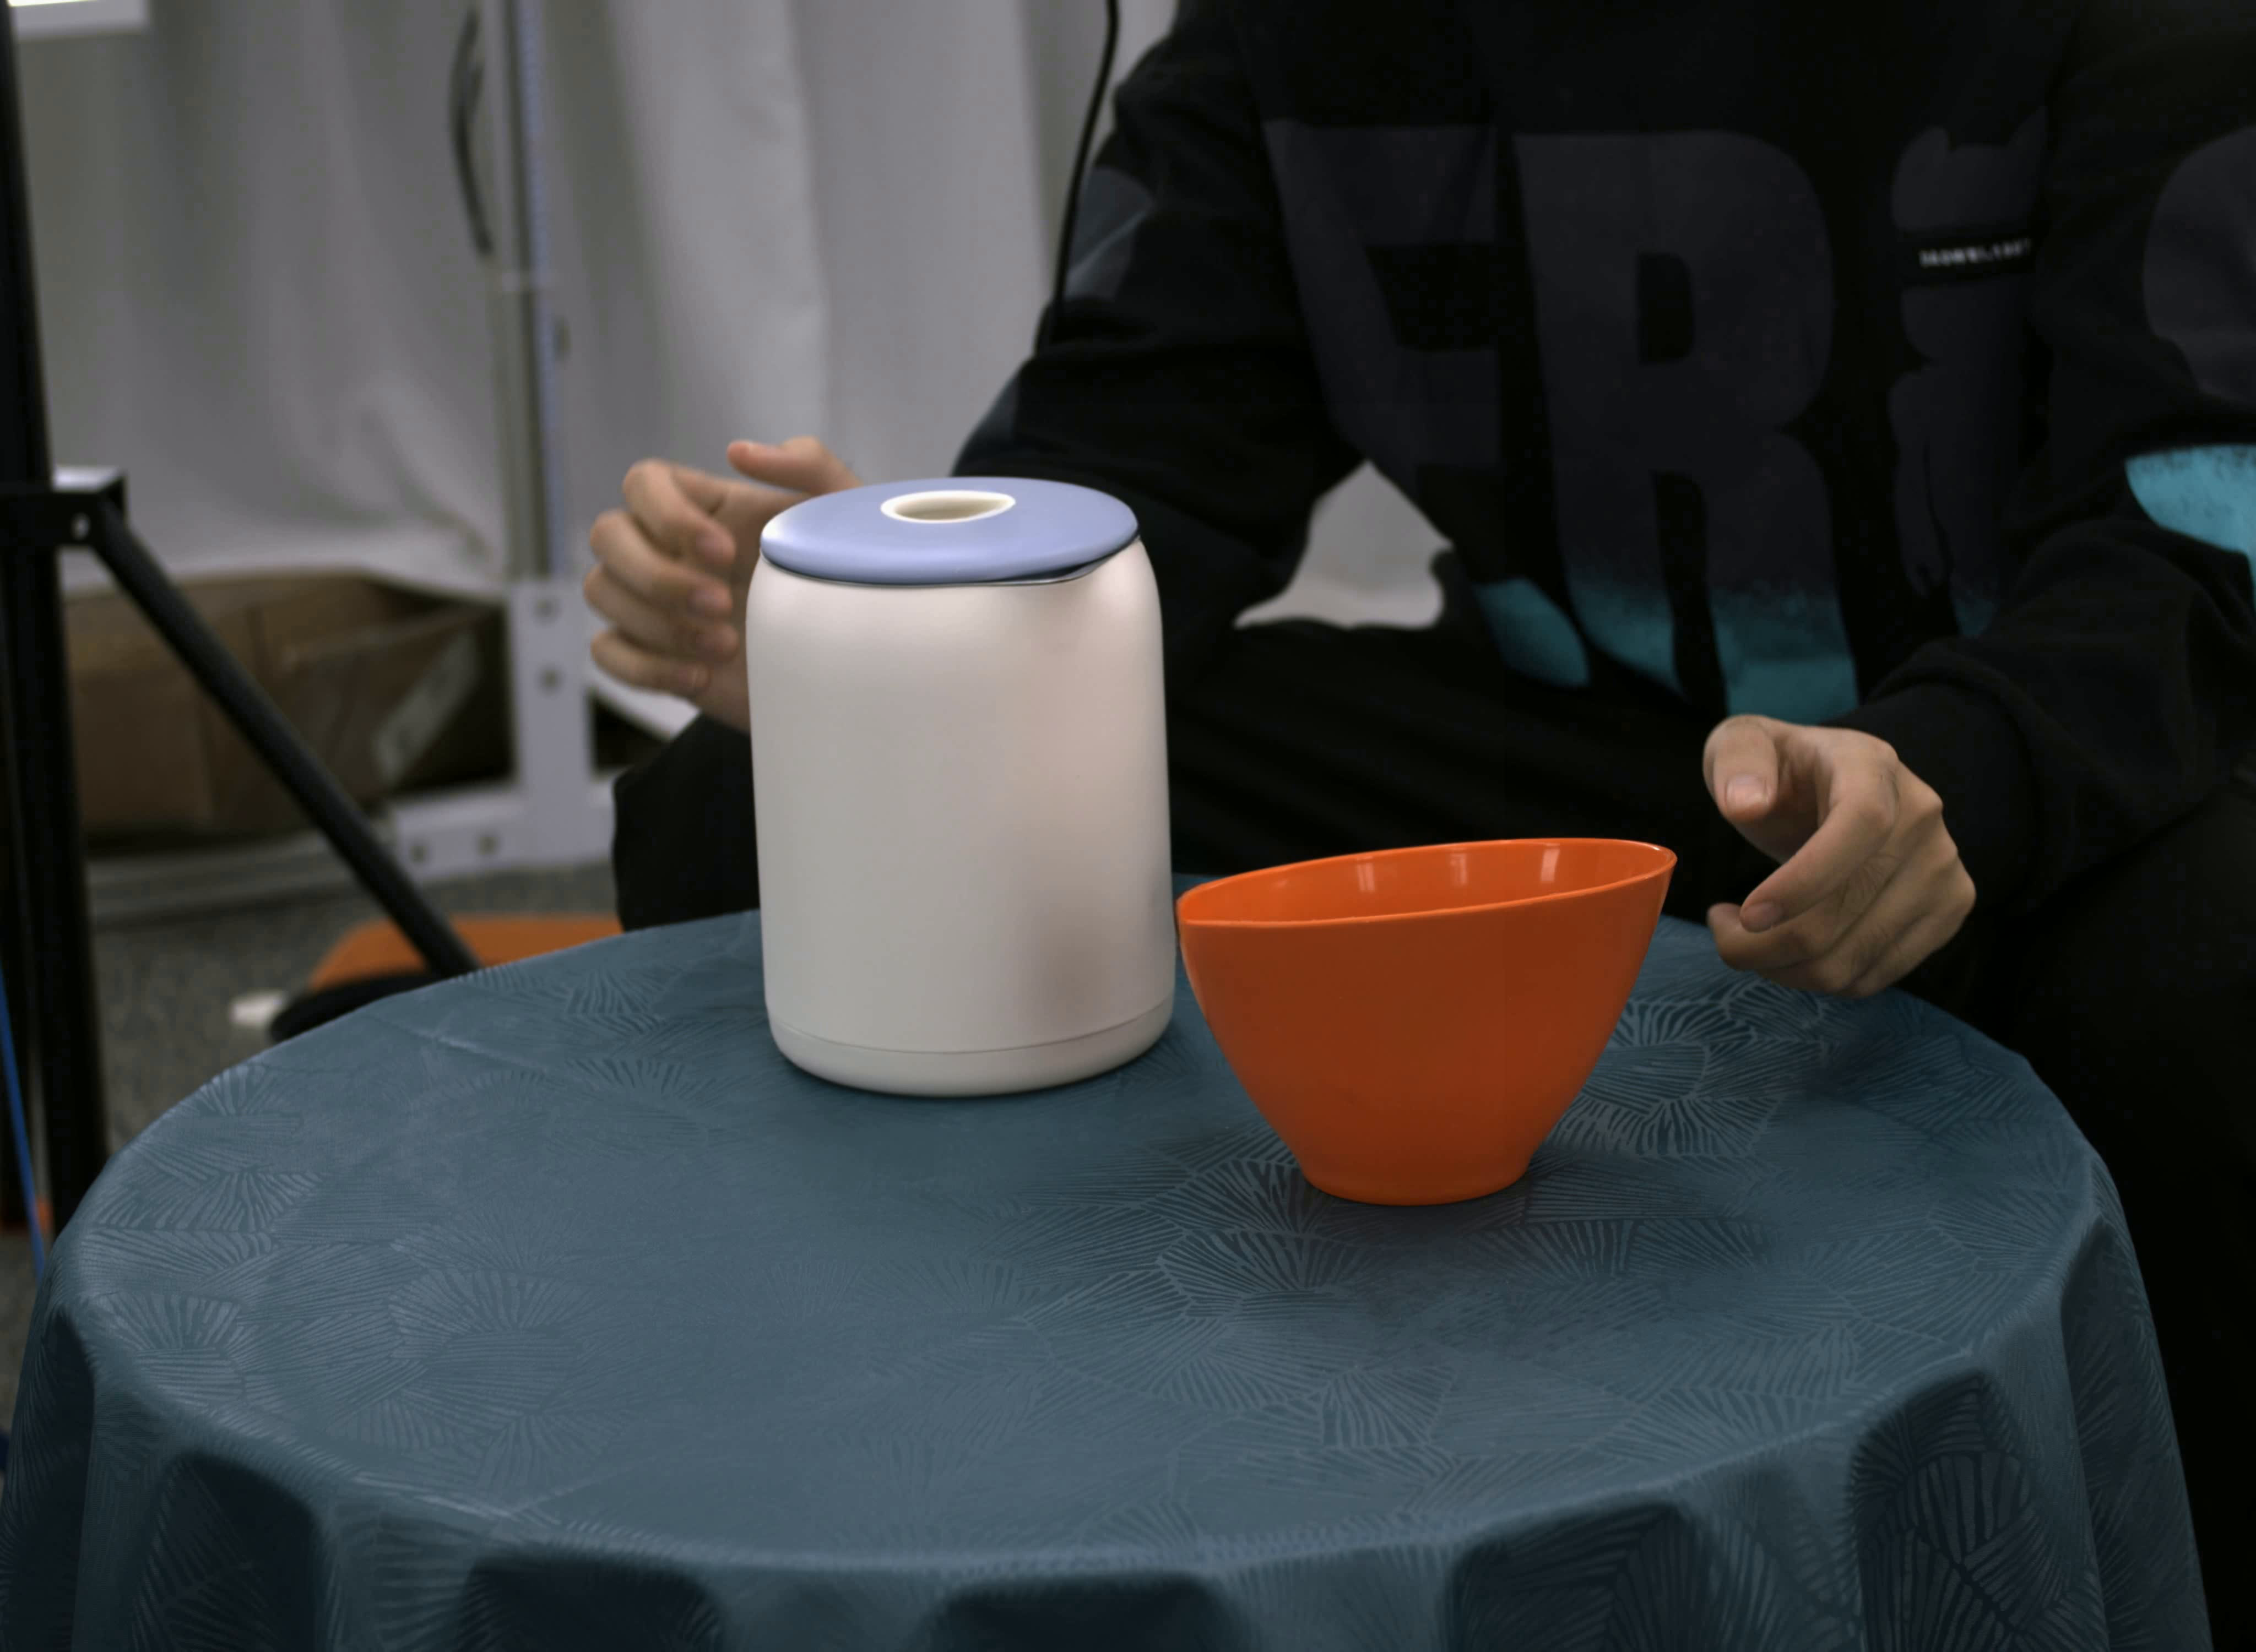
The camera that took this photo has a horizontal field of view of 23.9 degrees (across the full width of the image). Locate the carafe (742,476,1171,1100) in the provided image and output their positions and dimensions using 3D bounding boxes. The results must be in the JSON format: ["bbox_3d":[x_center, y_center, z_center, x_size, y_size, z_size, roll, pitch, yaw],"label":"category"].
[{"bbox_3d":[-0.067,-0.017,1.701,0.129,0.182,0.195,-11,15,-32],"label":"carafe"}]

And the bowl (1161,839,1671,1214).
[{"bbox_3d":[0.084,0.057,1.541,0.147,0.104,0.149,-3,16,-1],"label":"bowl"}]
